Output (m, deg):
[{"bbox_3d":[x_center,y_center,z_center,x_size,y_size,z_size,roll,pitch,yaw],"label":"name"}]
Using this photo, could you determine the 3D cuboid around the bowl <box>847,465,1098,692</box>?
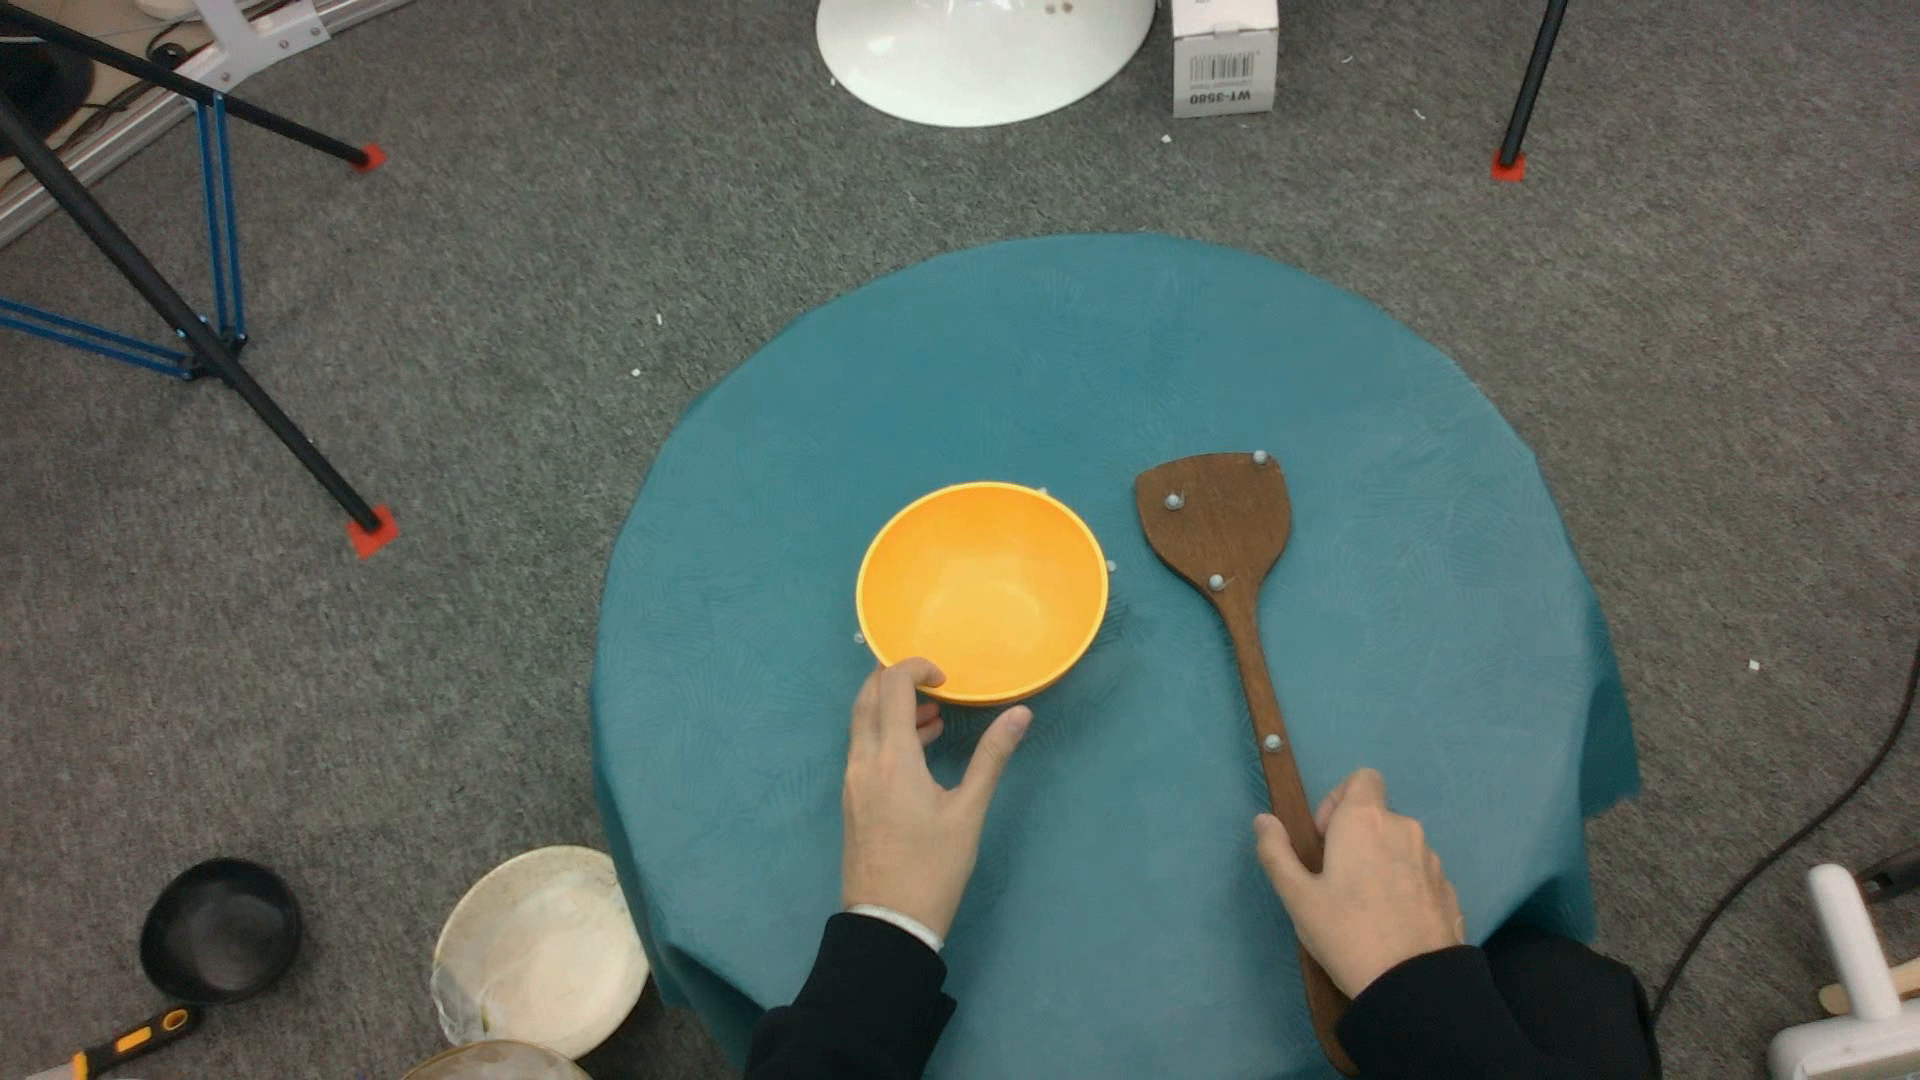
[{"bbox_3d":[0.010,0.031,0.809,0.145,0.060,0.146,-3,60,6],"label":"bowl"}]

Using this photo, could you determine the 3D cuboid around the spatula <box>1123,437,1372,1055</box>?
[{"bbox_3d":[0.166,0.089,0.766,0.096,0.016,0.387,-8,52,1],"label":"spatula"}]
